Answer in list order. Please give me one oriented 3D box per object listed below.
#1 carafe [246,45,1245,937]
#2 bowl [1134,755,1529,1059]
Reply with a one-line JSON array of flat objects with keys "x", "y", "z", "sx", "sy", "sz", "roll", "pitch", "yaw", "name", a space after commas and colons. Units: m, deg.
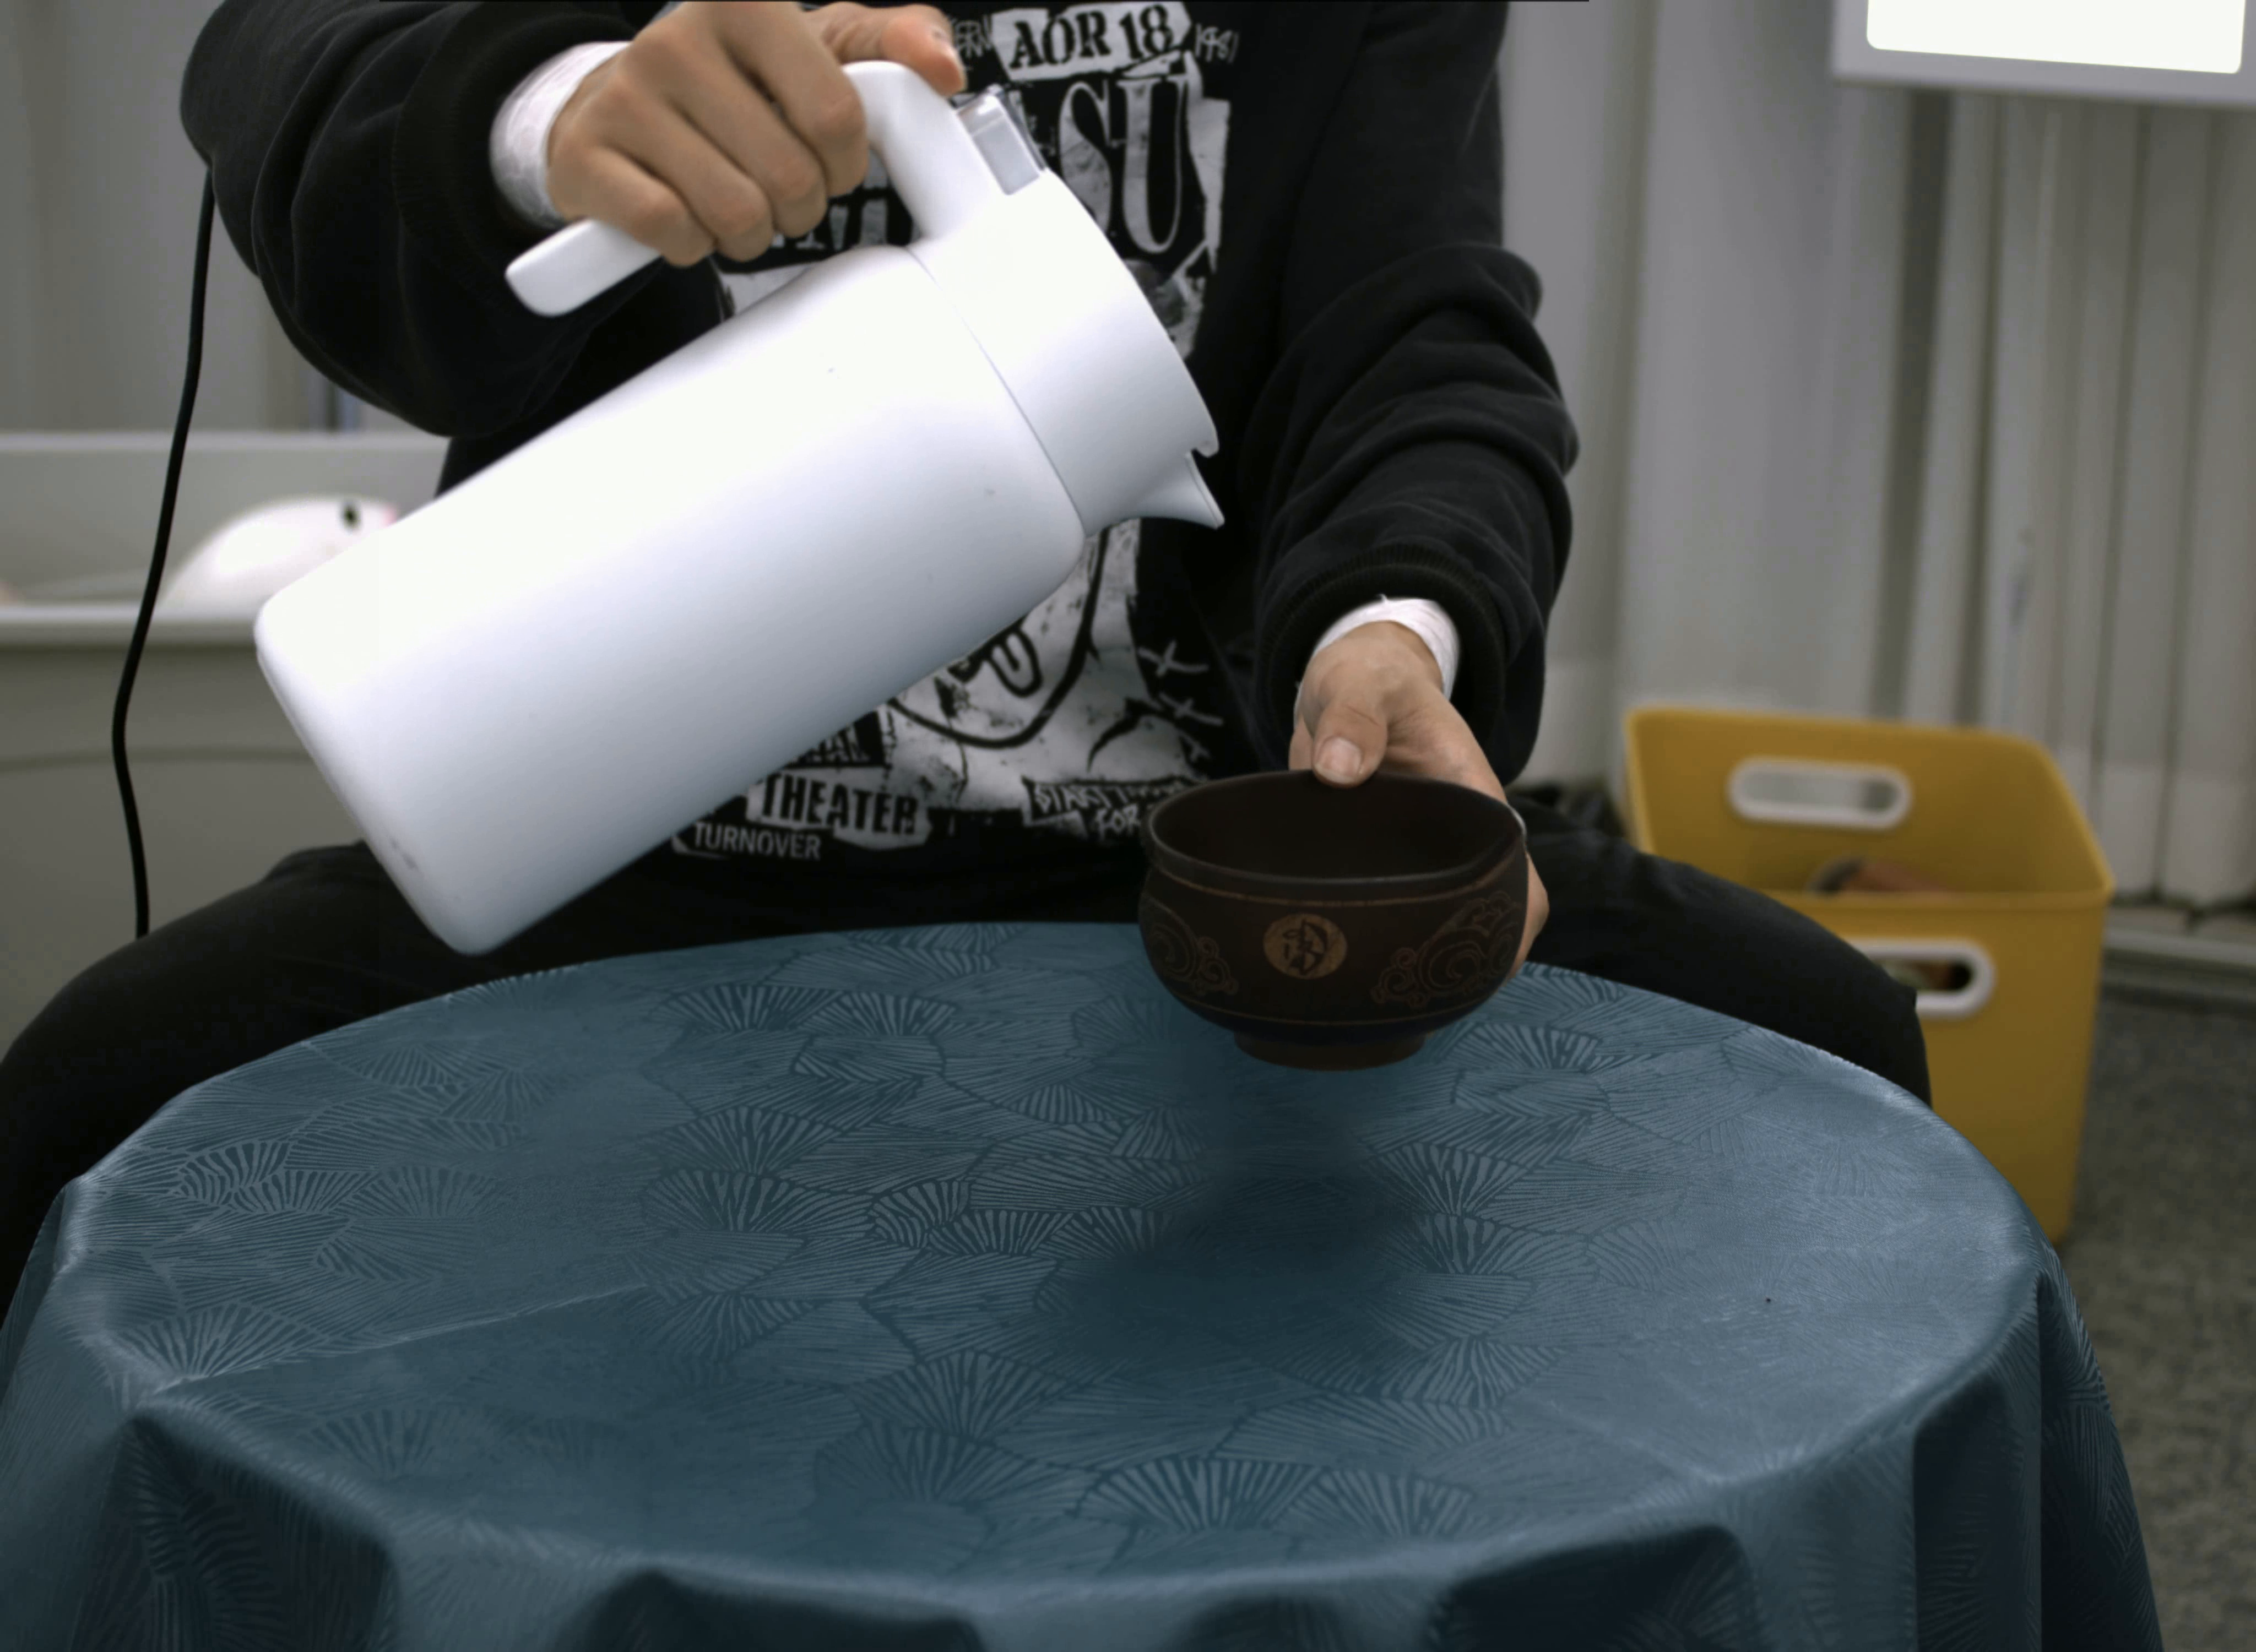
[{"x": -0.118, "y": -0.097, "z": 1.492, "sx": 0.268, "sy": 0.174, "sz": 0.123, "roll": -31, "pitch": 14, "yaw": -3, "name": "carafe"}, {"x": 0.060, "y": 0.028, "z": 1.566, "sx": 0.117, "sy": 0.070, "sz": 0.117, "roll": 0, "pitch": 17, "yaw": 1, "name": "bowl"}]
